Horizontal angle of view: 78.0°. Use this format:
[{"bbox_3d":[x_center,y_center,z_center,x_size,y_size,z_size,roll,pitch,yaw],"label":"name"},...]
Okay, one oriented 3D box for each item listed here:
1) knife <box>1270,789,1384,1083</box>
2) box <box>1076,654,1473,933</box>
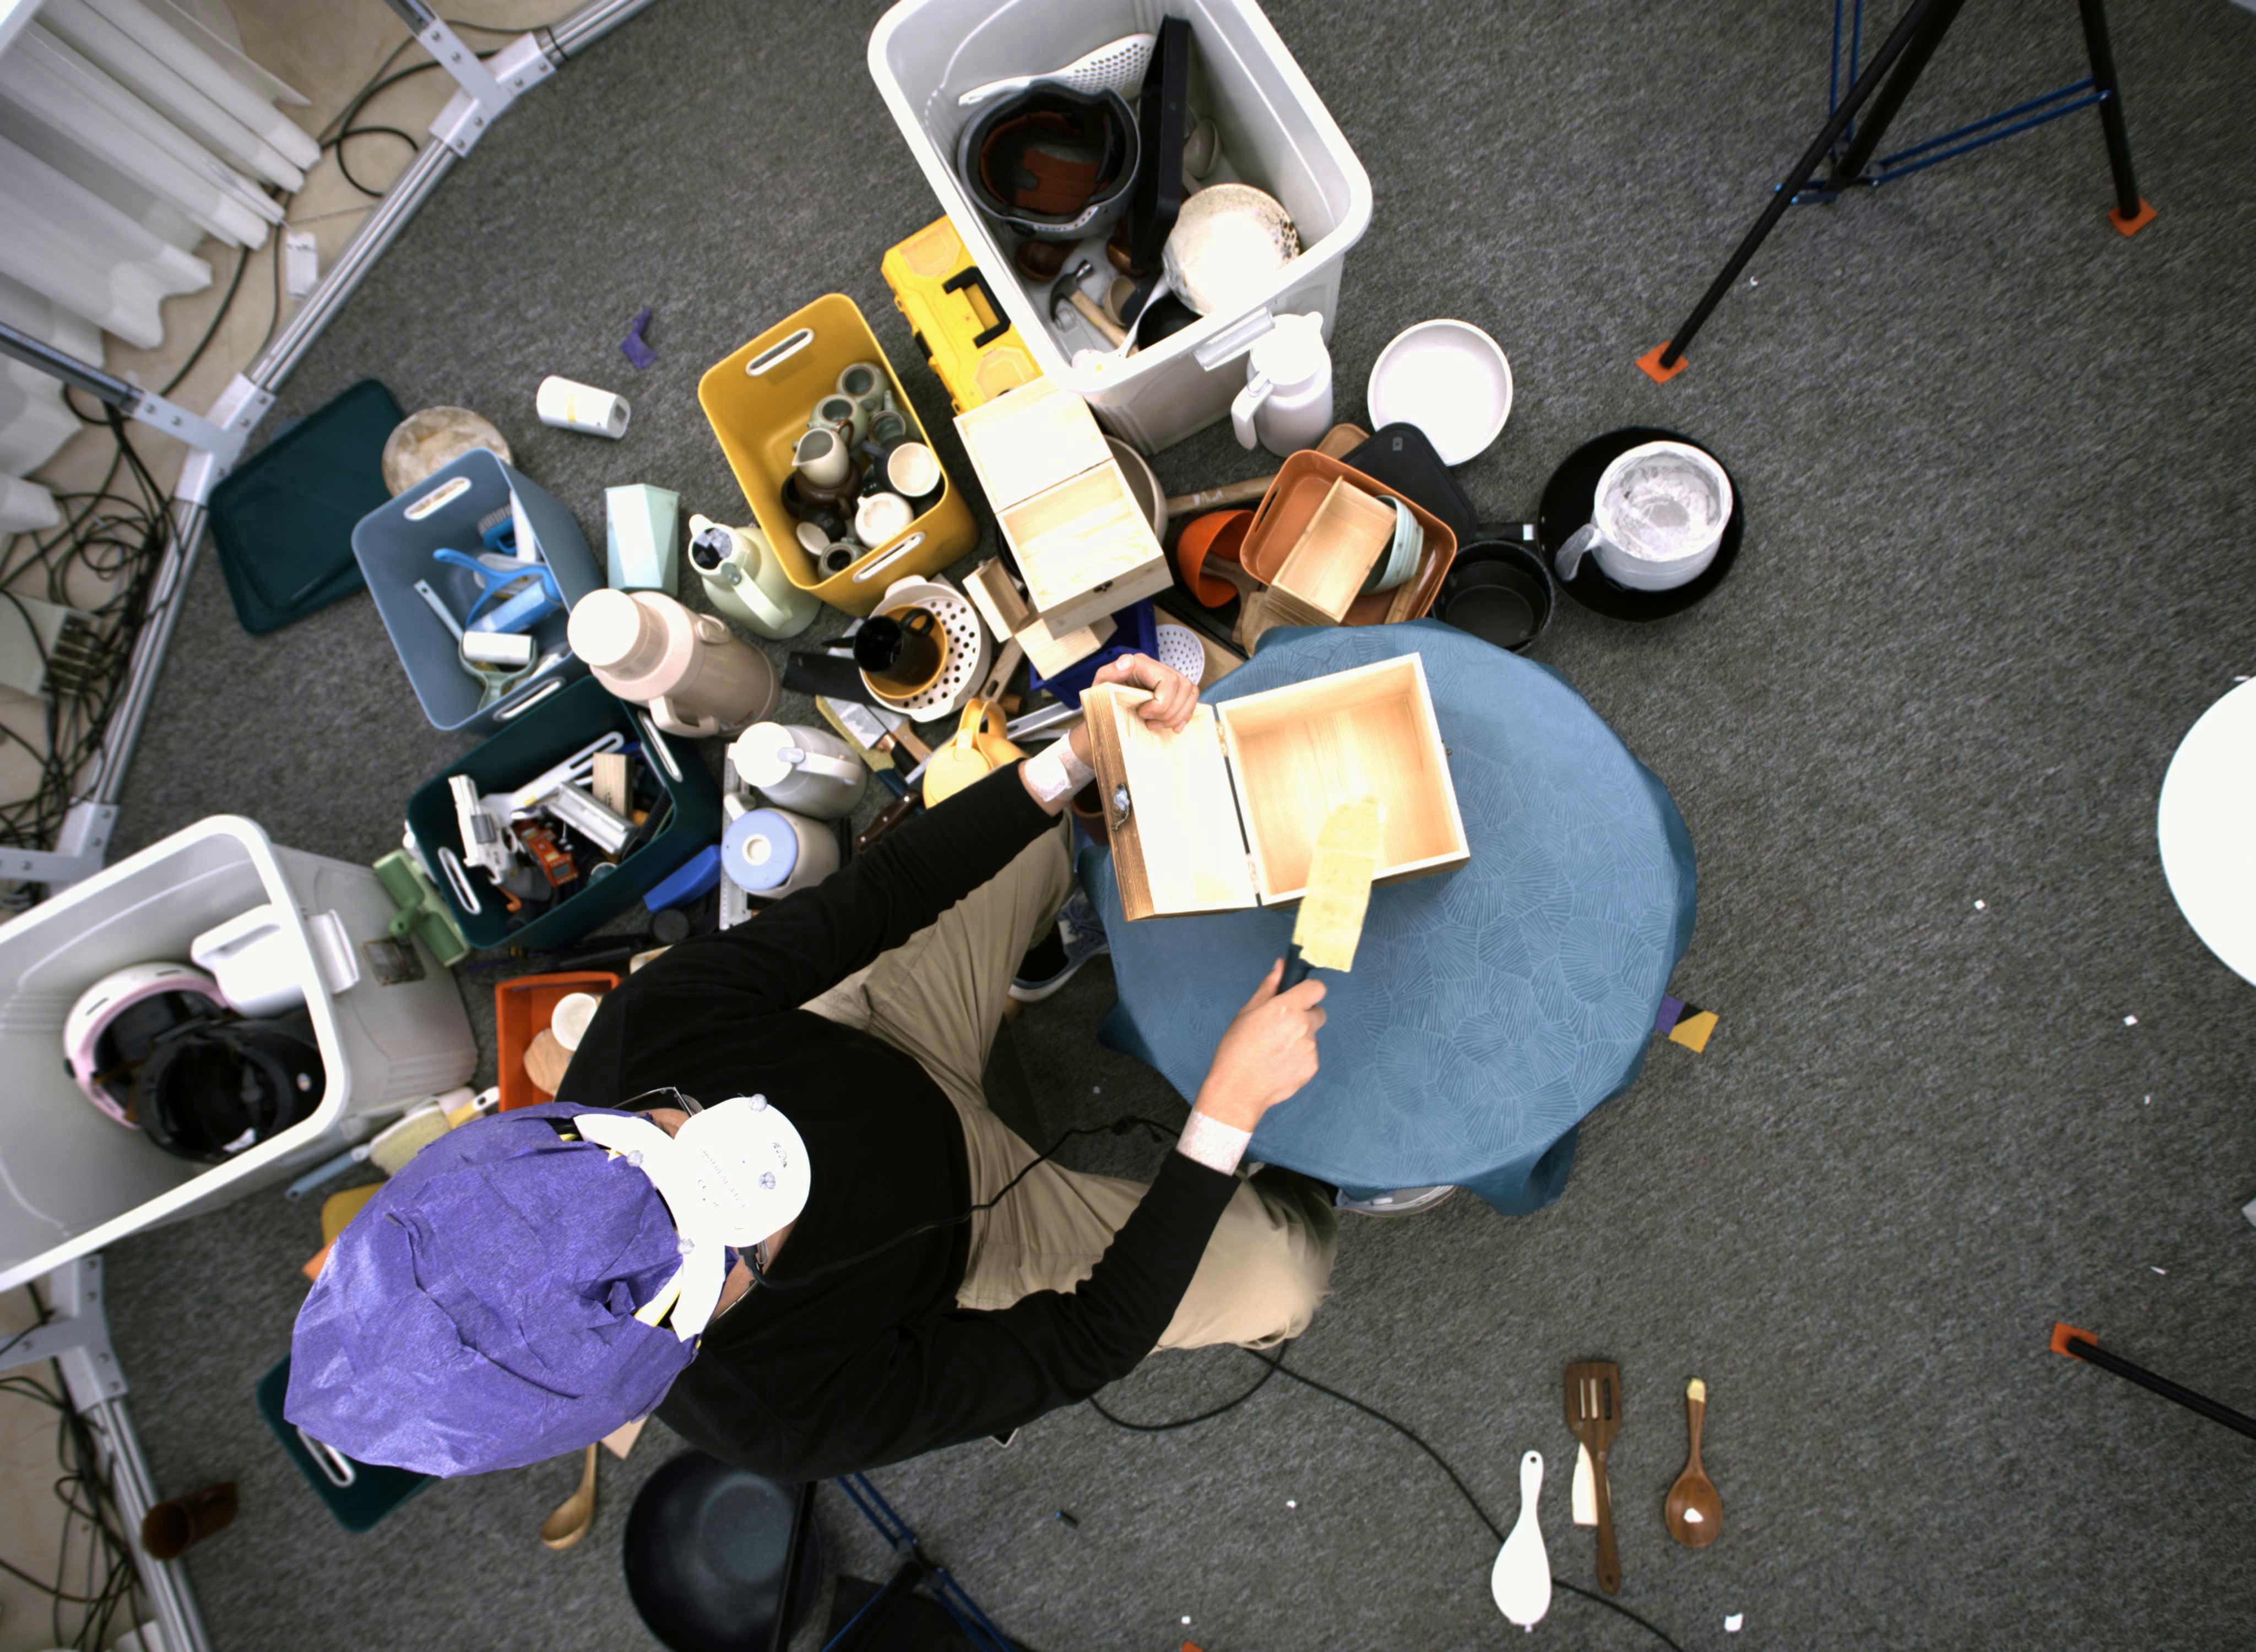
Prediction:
[{"bbox_3d":[0.185,0.103,1.284,0.081,0.027,0.290,19,95,50],"label":"knife"},{"bbox_3d":[0.151,-0.032,1.307,0.324,0.375,0.207,-14,83,10],"label":"box"}]
